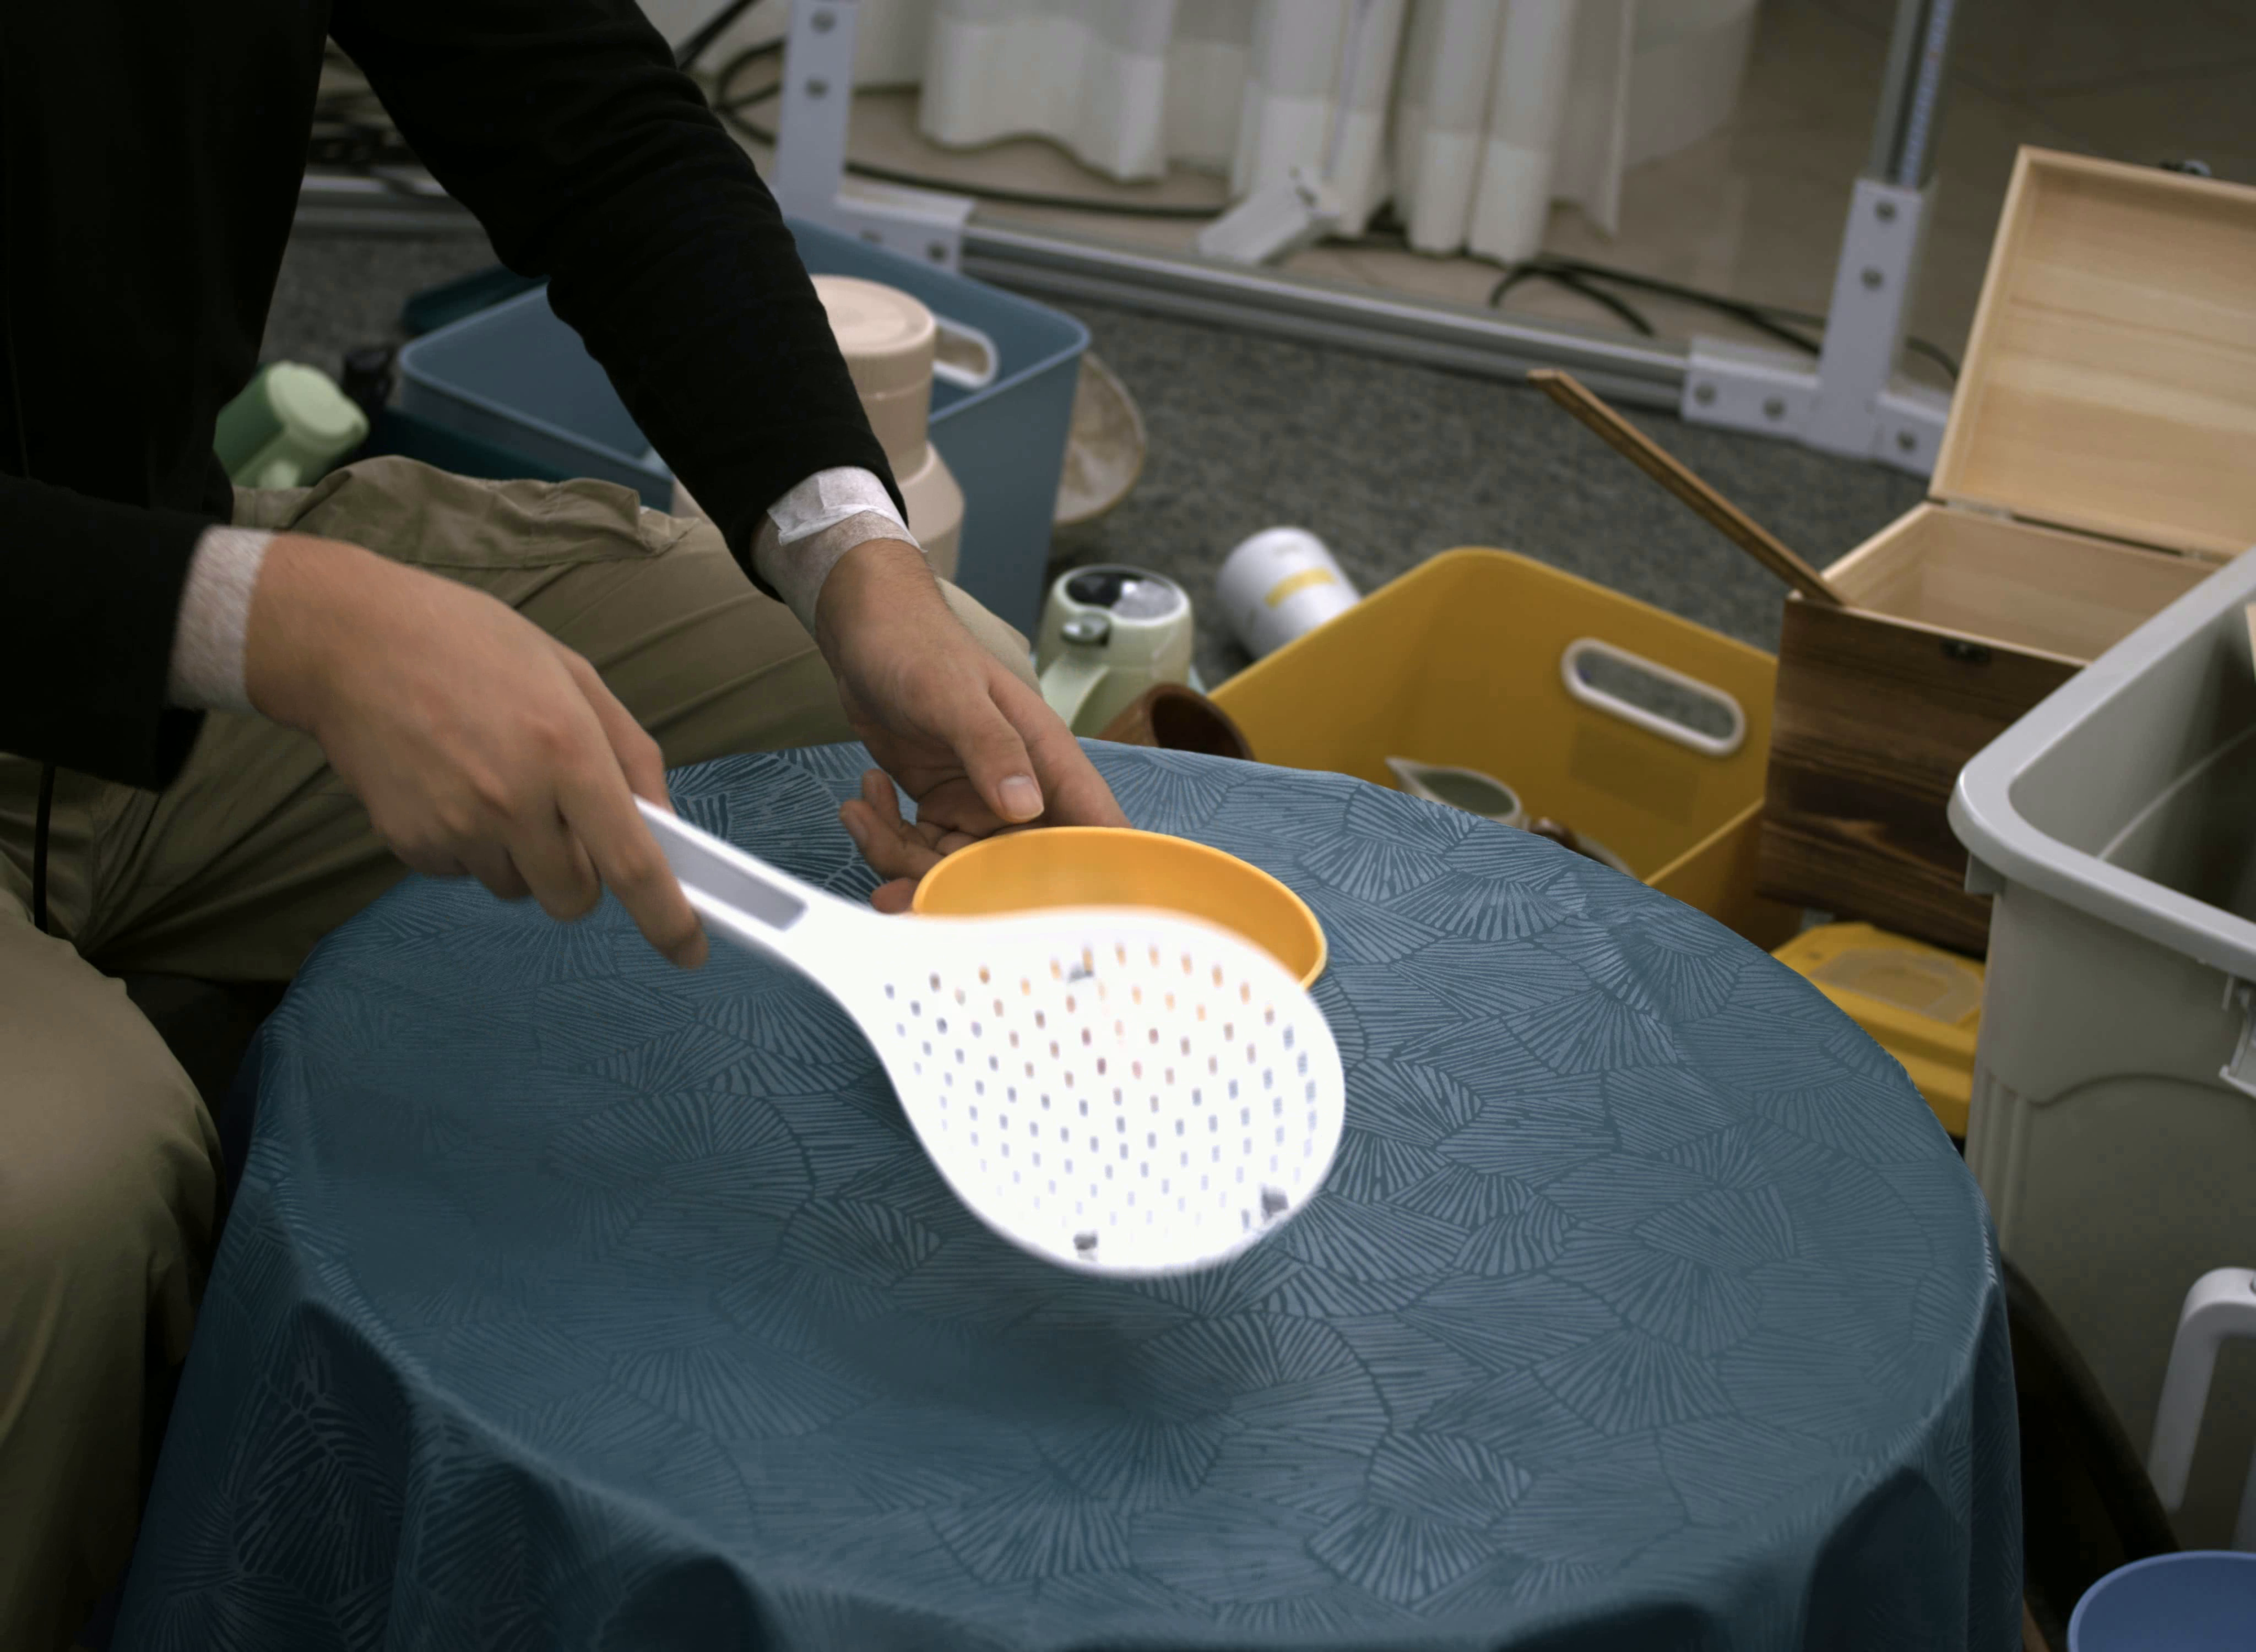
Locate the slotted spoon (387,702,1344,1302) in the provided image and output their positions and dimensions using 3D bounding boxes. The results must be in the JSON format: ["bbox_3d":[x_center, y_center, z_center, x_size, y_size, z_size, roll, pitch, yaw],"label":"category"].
[{"bbox_3d":[-0.092,0.048,1.720,0.350,0.045,0.136,30,57,12],"label":"slotted spoon"}]

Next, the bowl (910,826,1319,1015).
[{"bbox_3d":[-0.008,0.060,1.863,0.145,0.060,0.146,7,27,-4],"label":"bowl"}]
